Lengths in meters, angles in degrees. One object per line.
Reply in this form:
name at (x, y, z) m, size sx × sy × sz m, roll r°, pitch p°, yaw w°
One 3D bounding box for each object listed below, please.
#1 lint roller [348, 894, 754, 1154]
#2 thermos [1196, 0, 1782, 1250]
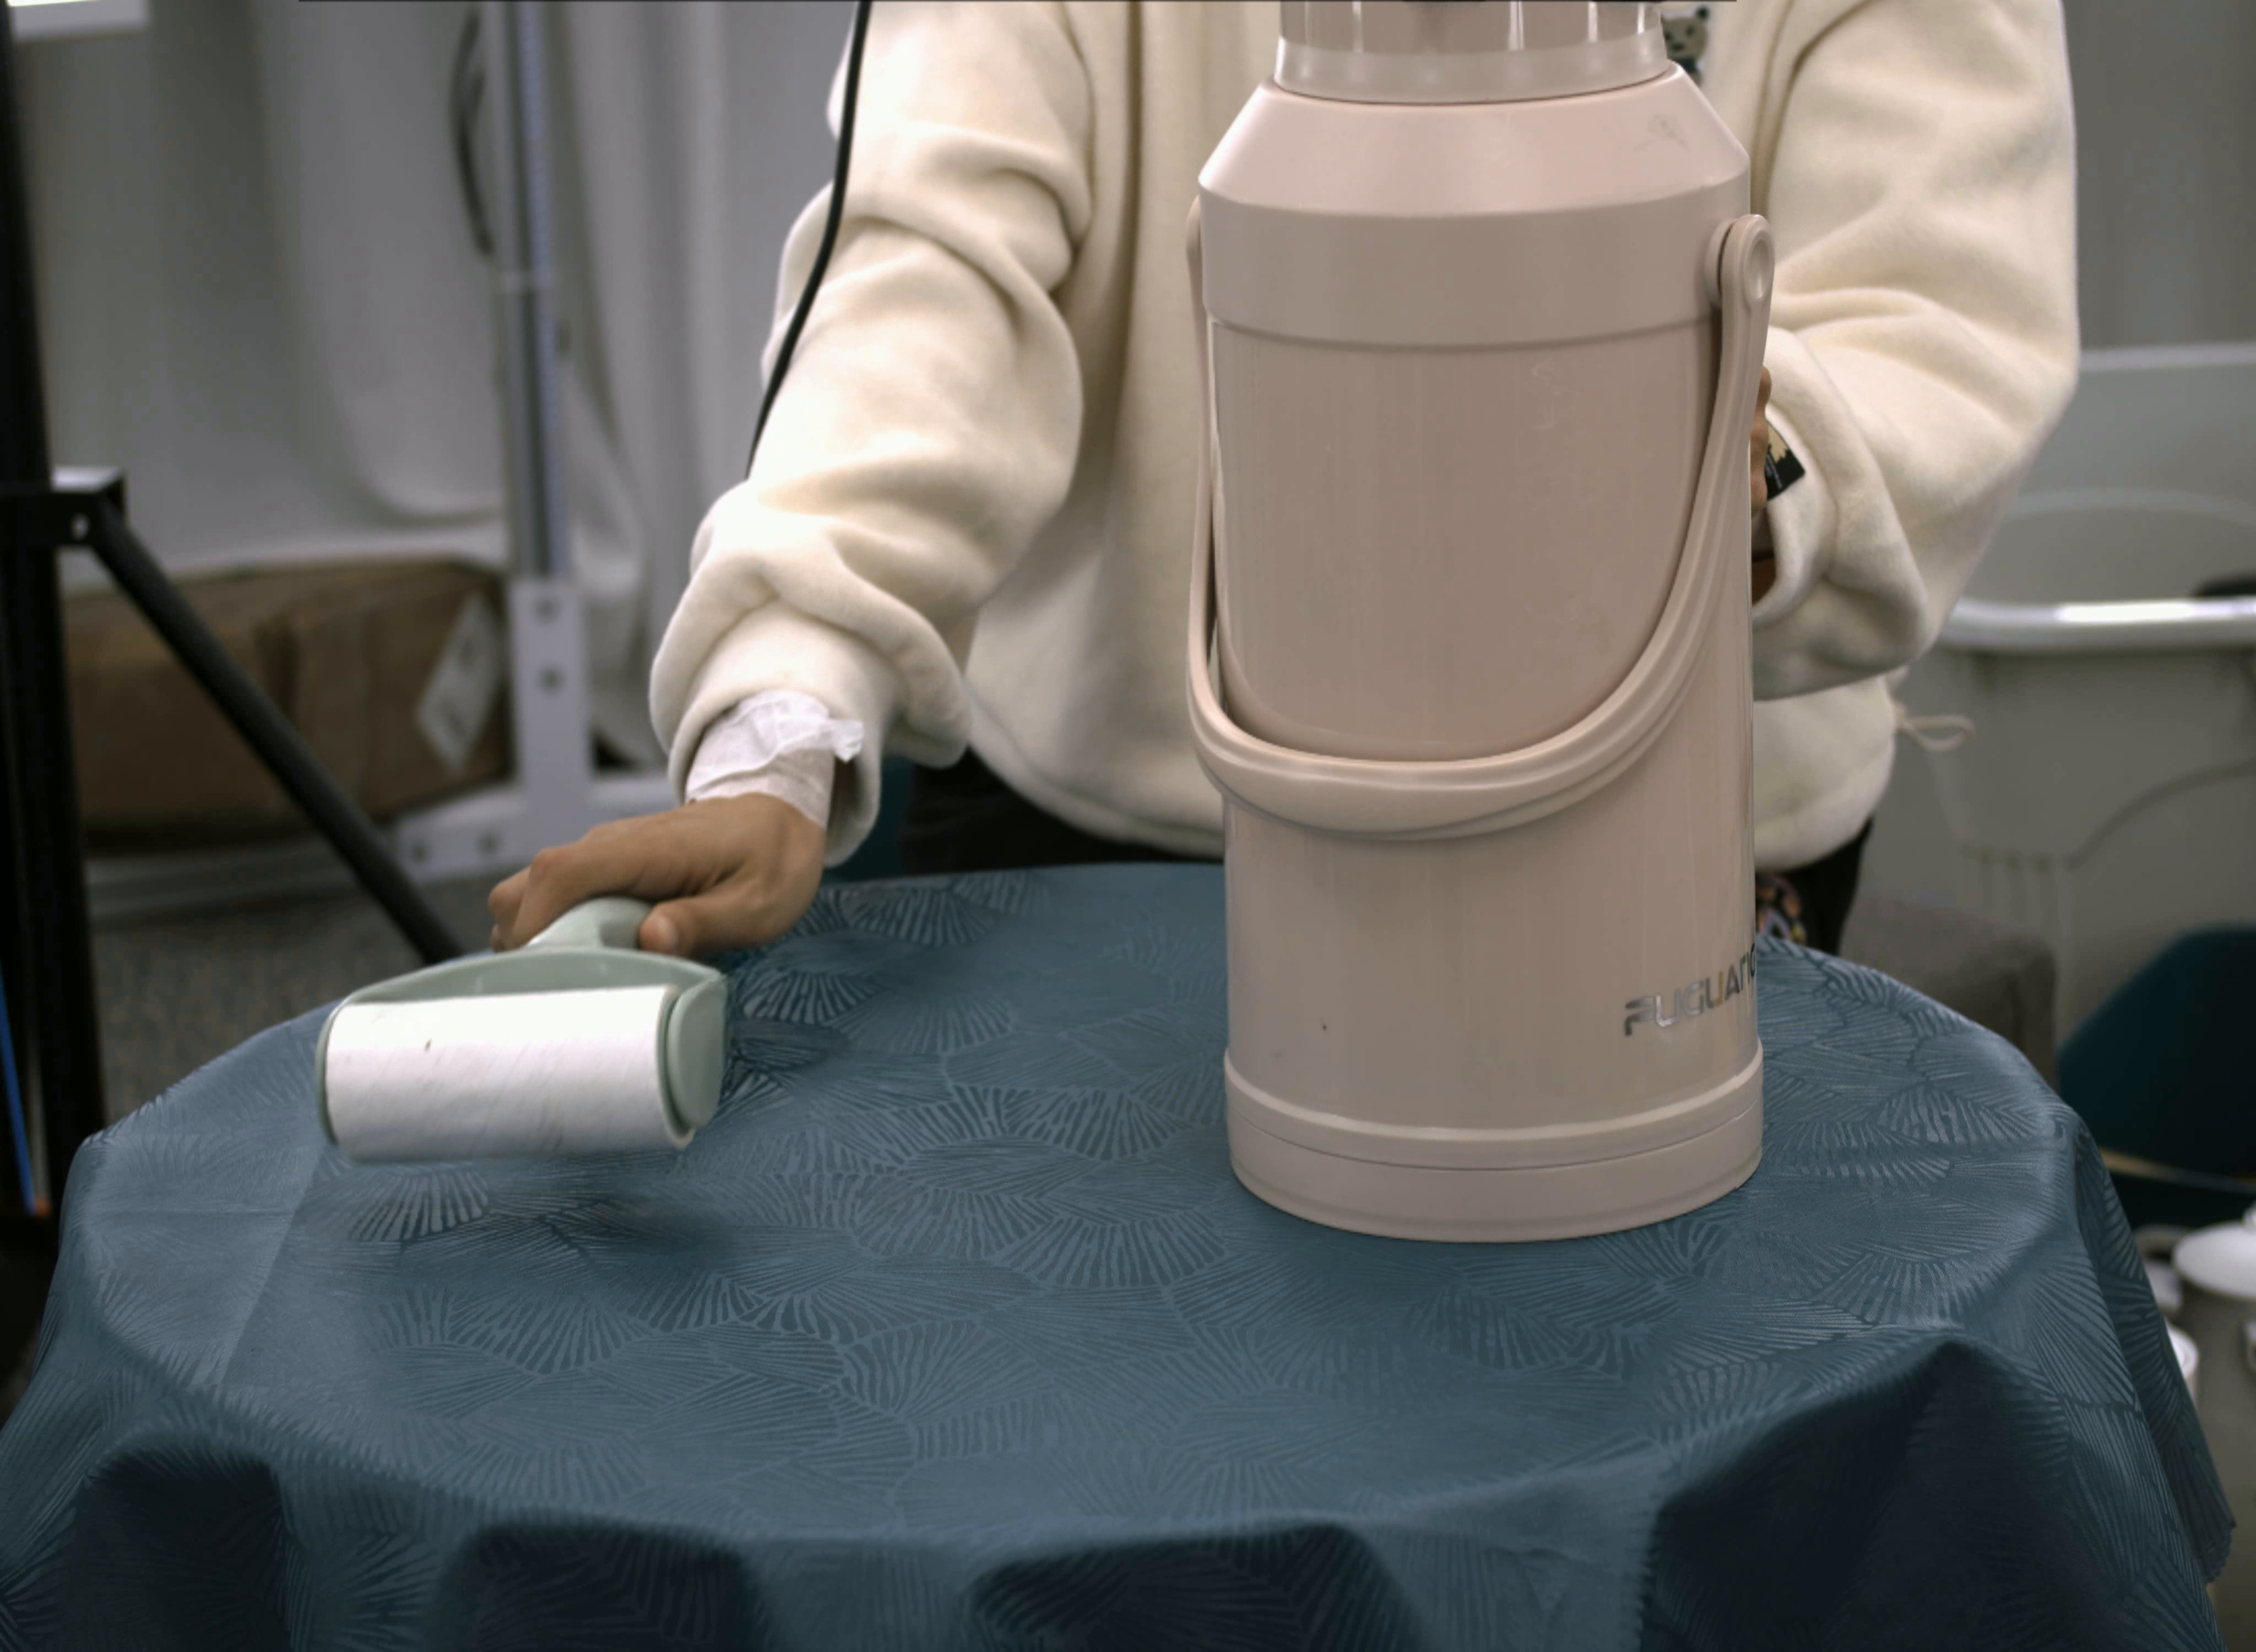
lint roller at (-0.157, 0.048, 1.615) m, size 0.117 × 0.048 × 0.197 m, roll -6°, pitch 16°, yaw 12°
thermos at (0.110, -0.096, 1.534) m, size 0.178 × 0.406 × 0.203 m, roll 6°, pitch 17°, yaw 30°
